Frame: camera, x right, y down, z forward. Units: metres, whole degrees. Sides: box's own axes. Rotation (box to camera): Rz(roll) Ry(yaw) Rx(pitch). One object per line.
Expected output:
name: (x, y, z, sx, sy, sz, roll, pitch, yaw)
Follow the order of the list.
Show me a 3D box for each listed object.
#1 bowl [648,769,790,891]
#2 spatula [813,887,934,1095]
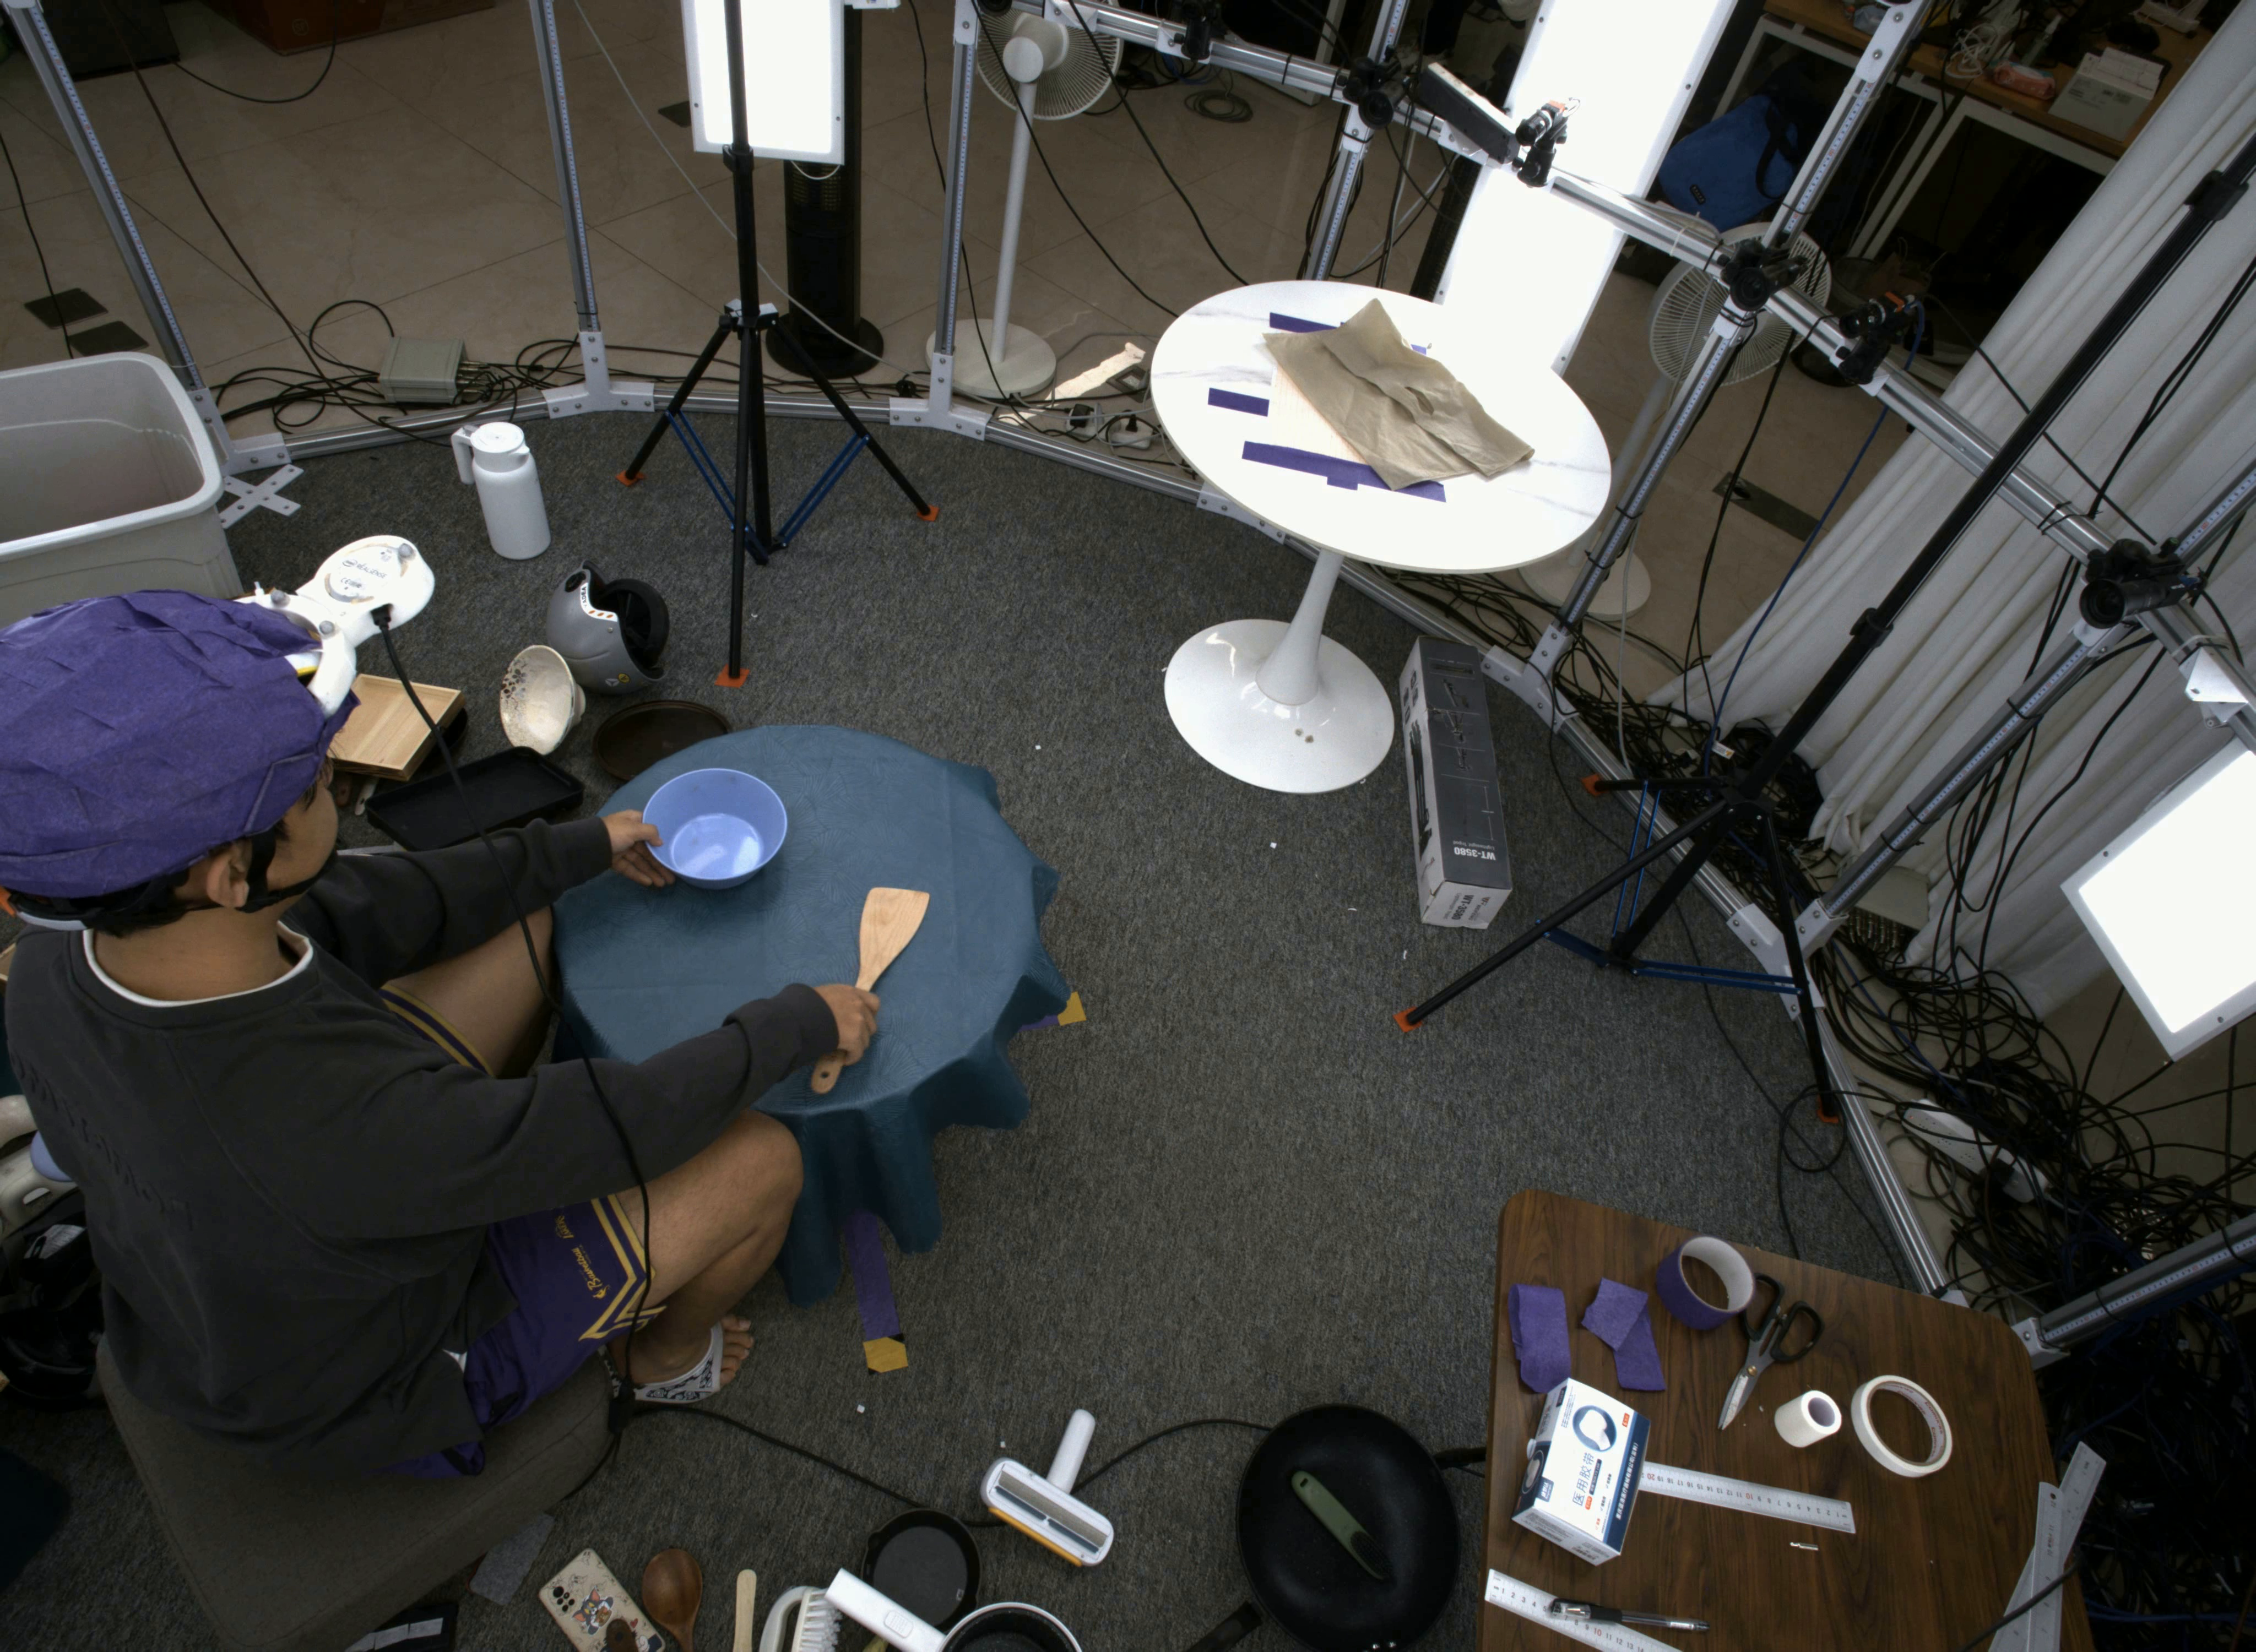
bowl: (-0.519, 0.014, 1.646, 0.176, 0.071, 0.173, 9, 52, -10)
spatula: (-0.320, 0.190, 1.591, 0.079, 0.017, 0.323, 17, 44, -1)
